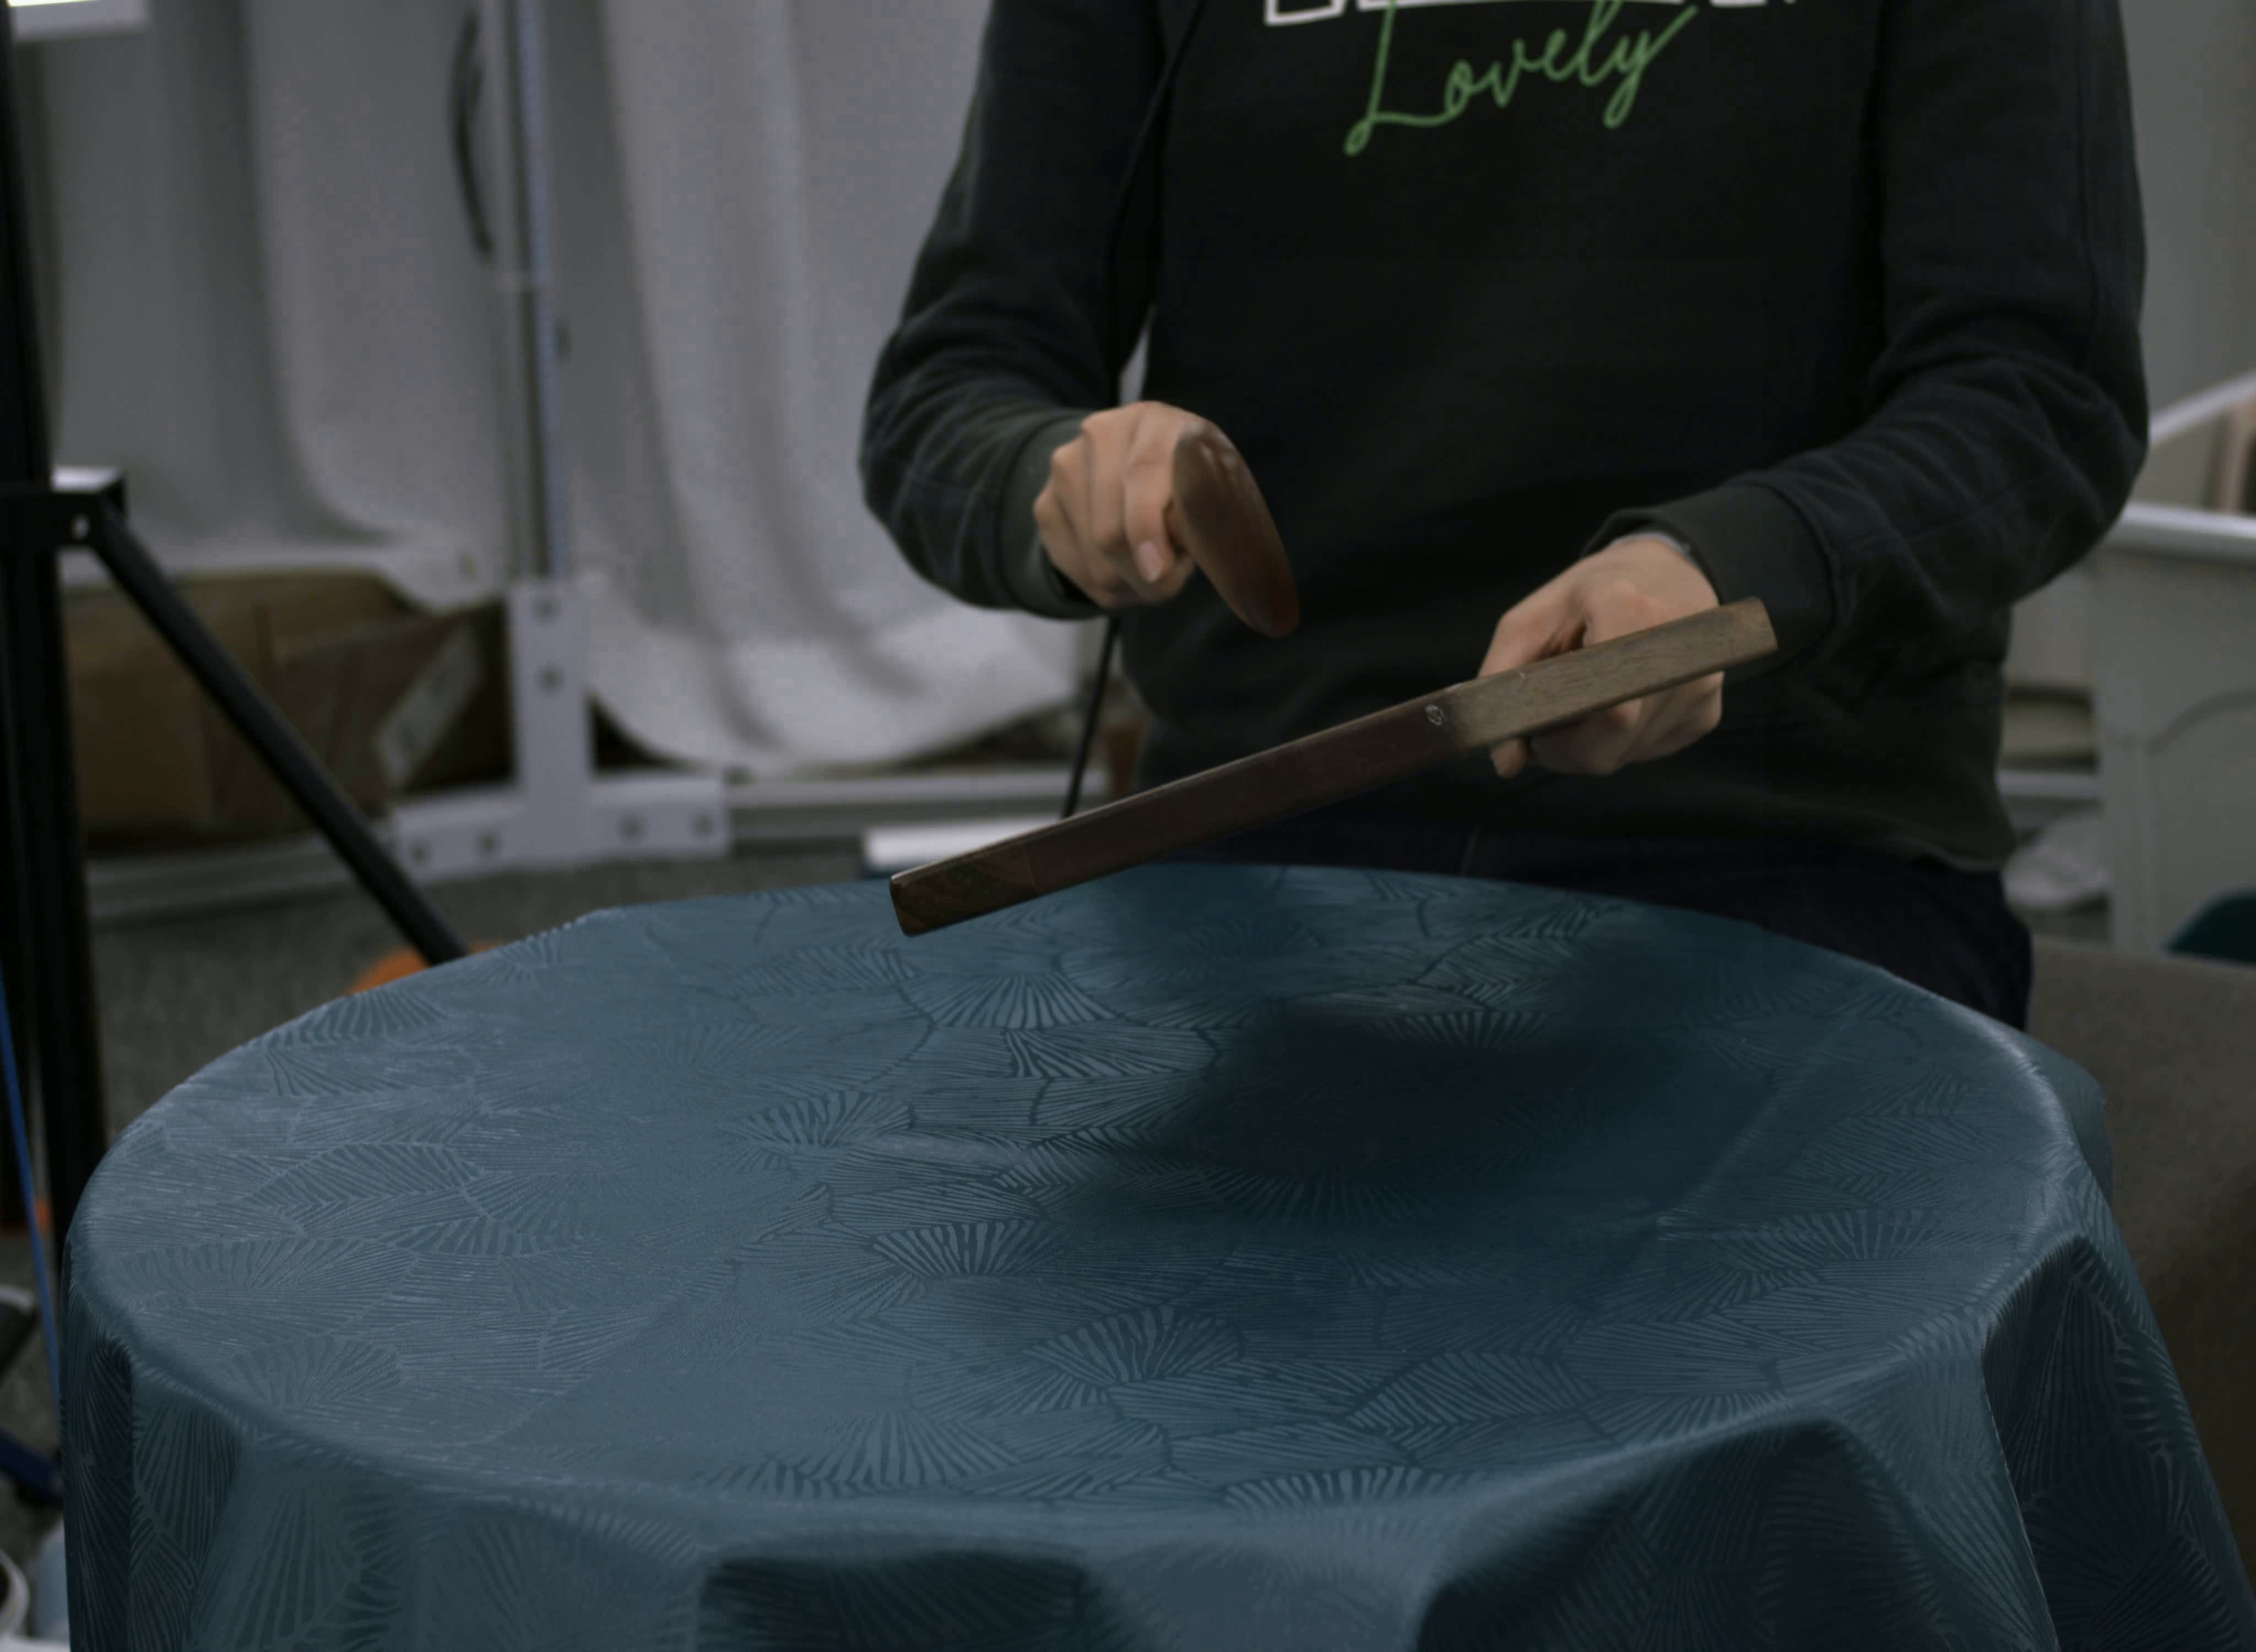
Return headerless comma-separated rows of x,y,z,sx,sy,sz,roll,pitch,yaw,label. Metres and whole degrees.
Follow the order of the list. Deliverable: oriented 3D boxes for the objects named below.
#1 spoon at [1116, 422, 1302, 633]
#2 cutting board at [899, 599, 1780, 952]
0.020,-0.096,1.731,0.017,0.075,0.217,-28,8,-6,spoon
0.089,-0.023,1.626,0.204,0.023,0.346,-20,-1,27,cutting board
